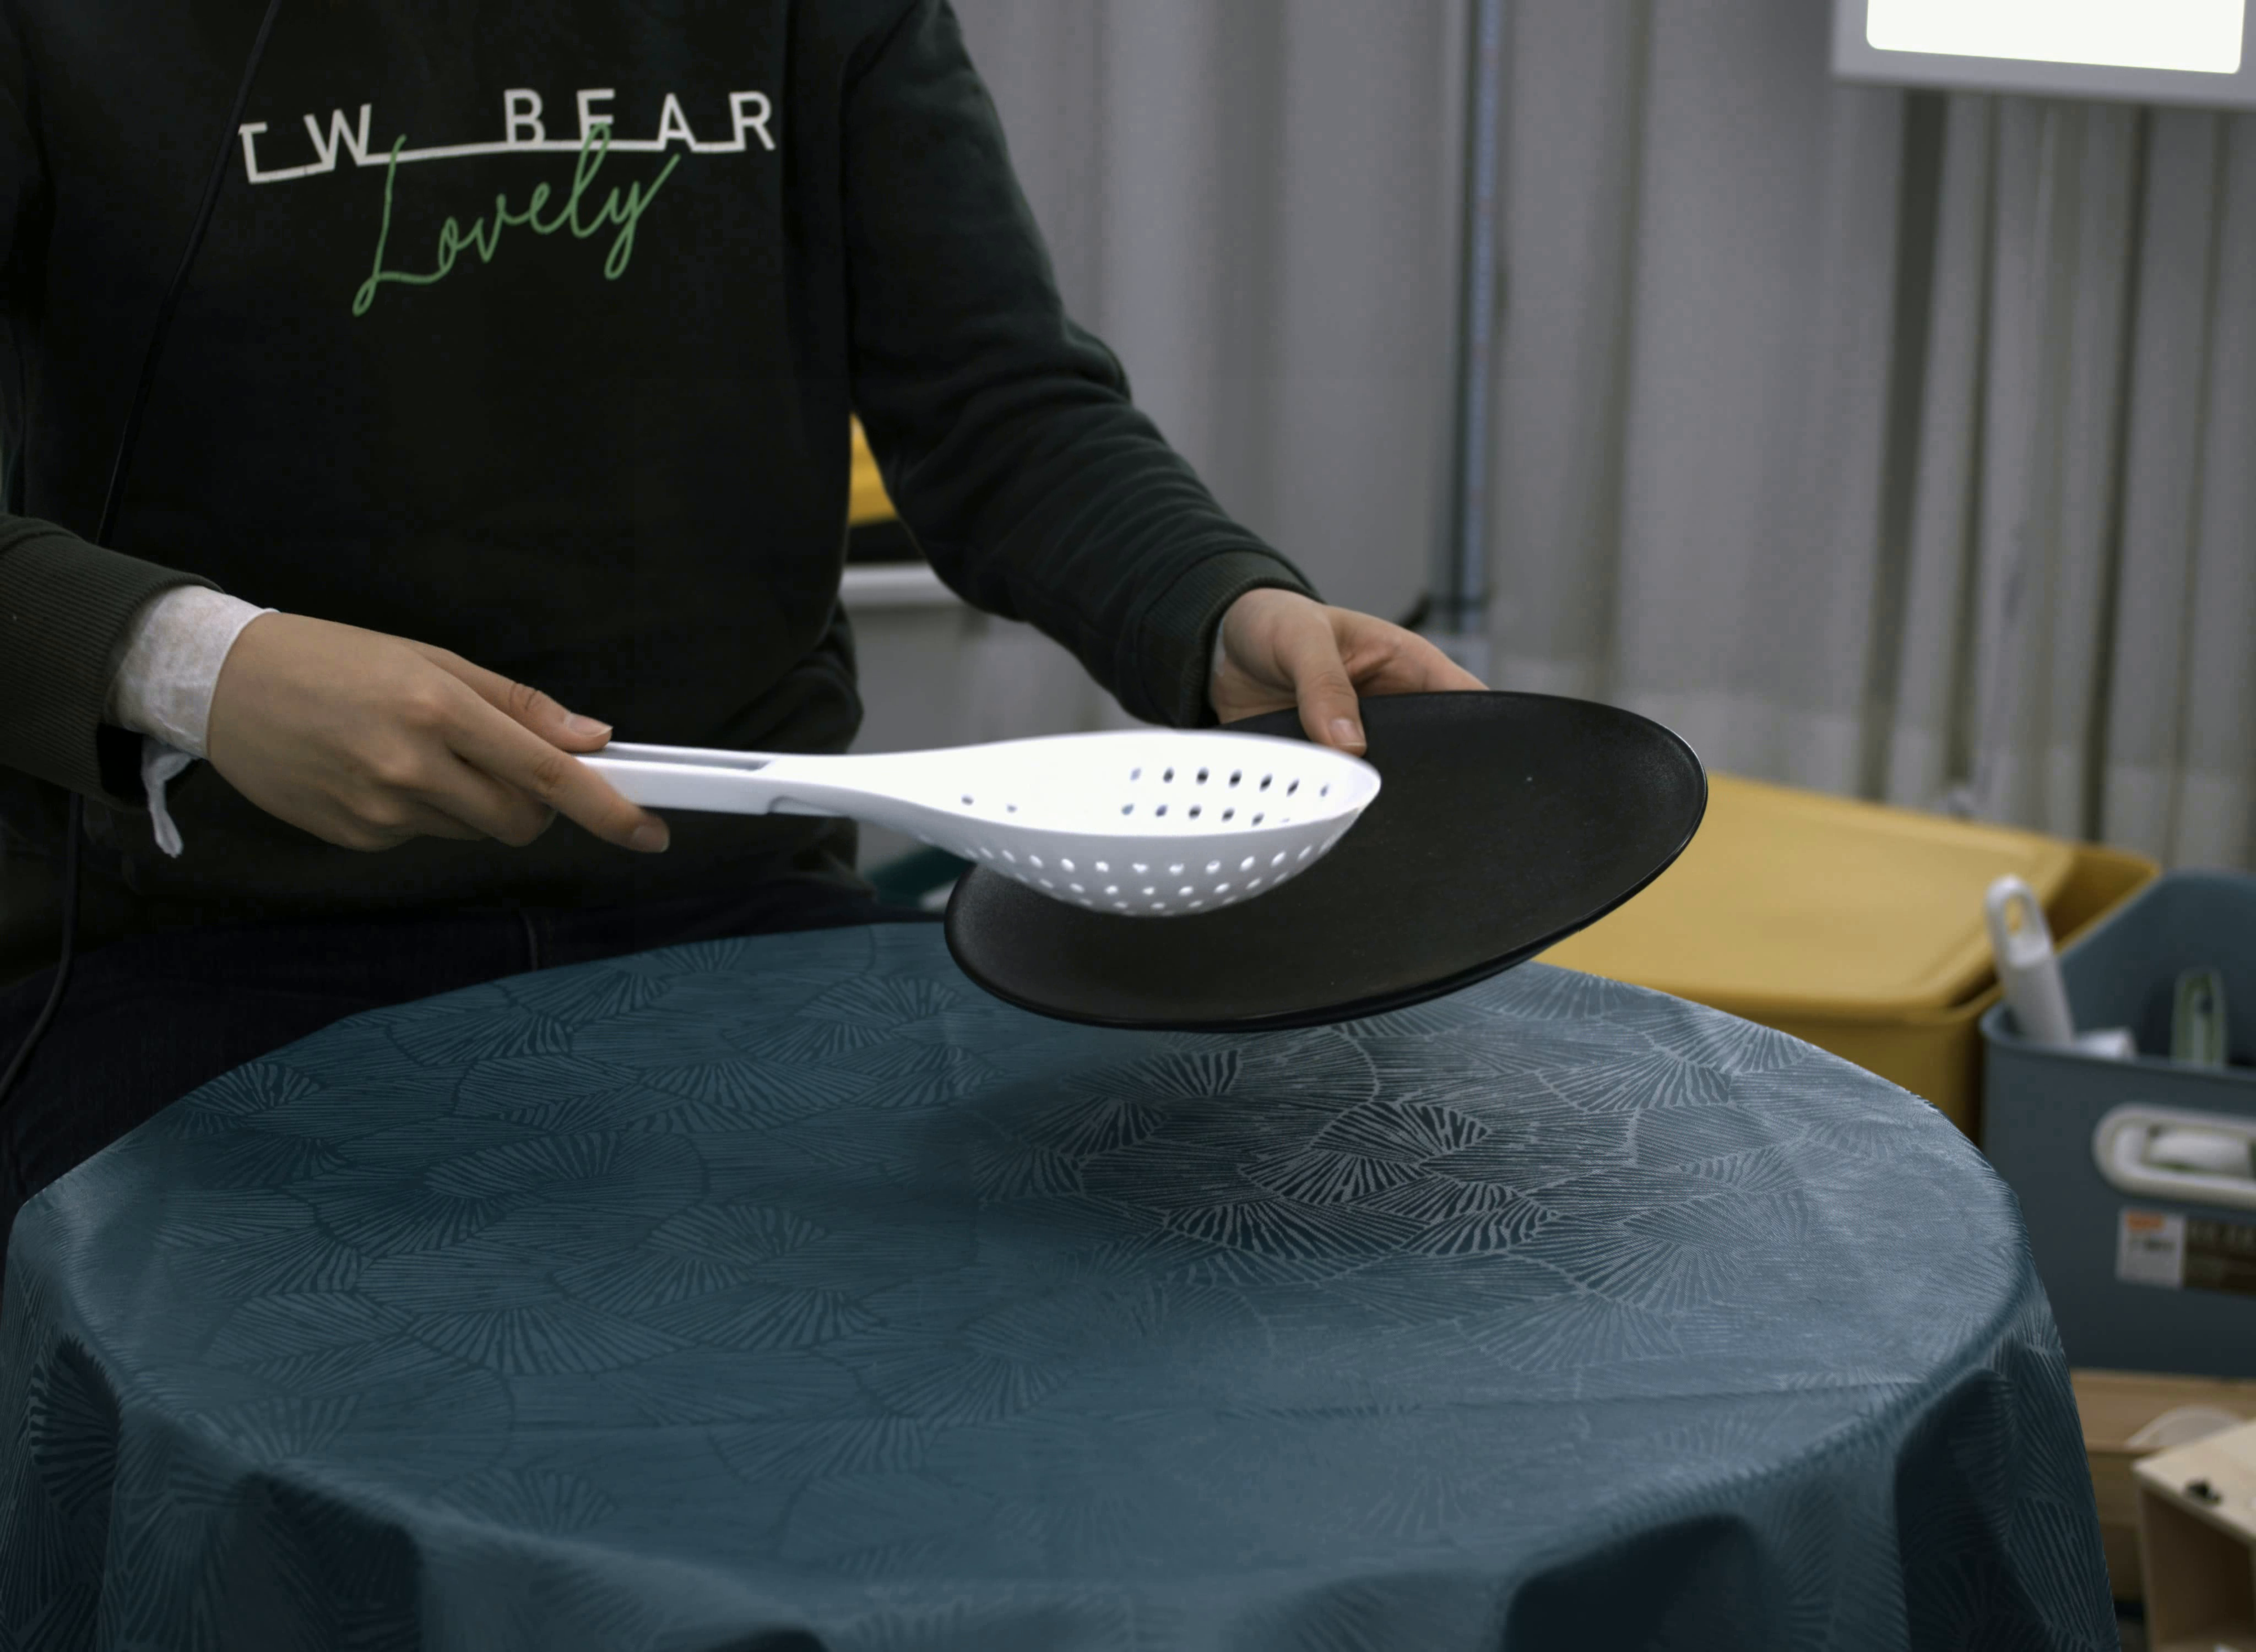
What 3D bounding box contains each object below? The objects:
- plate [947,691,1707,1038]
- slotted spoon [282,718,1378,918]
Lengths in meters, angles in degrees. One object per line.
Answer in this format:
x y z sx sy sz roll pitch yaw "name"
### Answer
0.063 0.015 1.655 0.243 0.024 0.242 -10 22 5 "plate"
-0.096 -0.013 1.620 0.347 0.046 0.136 9 13 13 "slotted spoon"
